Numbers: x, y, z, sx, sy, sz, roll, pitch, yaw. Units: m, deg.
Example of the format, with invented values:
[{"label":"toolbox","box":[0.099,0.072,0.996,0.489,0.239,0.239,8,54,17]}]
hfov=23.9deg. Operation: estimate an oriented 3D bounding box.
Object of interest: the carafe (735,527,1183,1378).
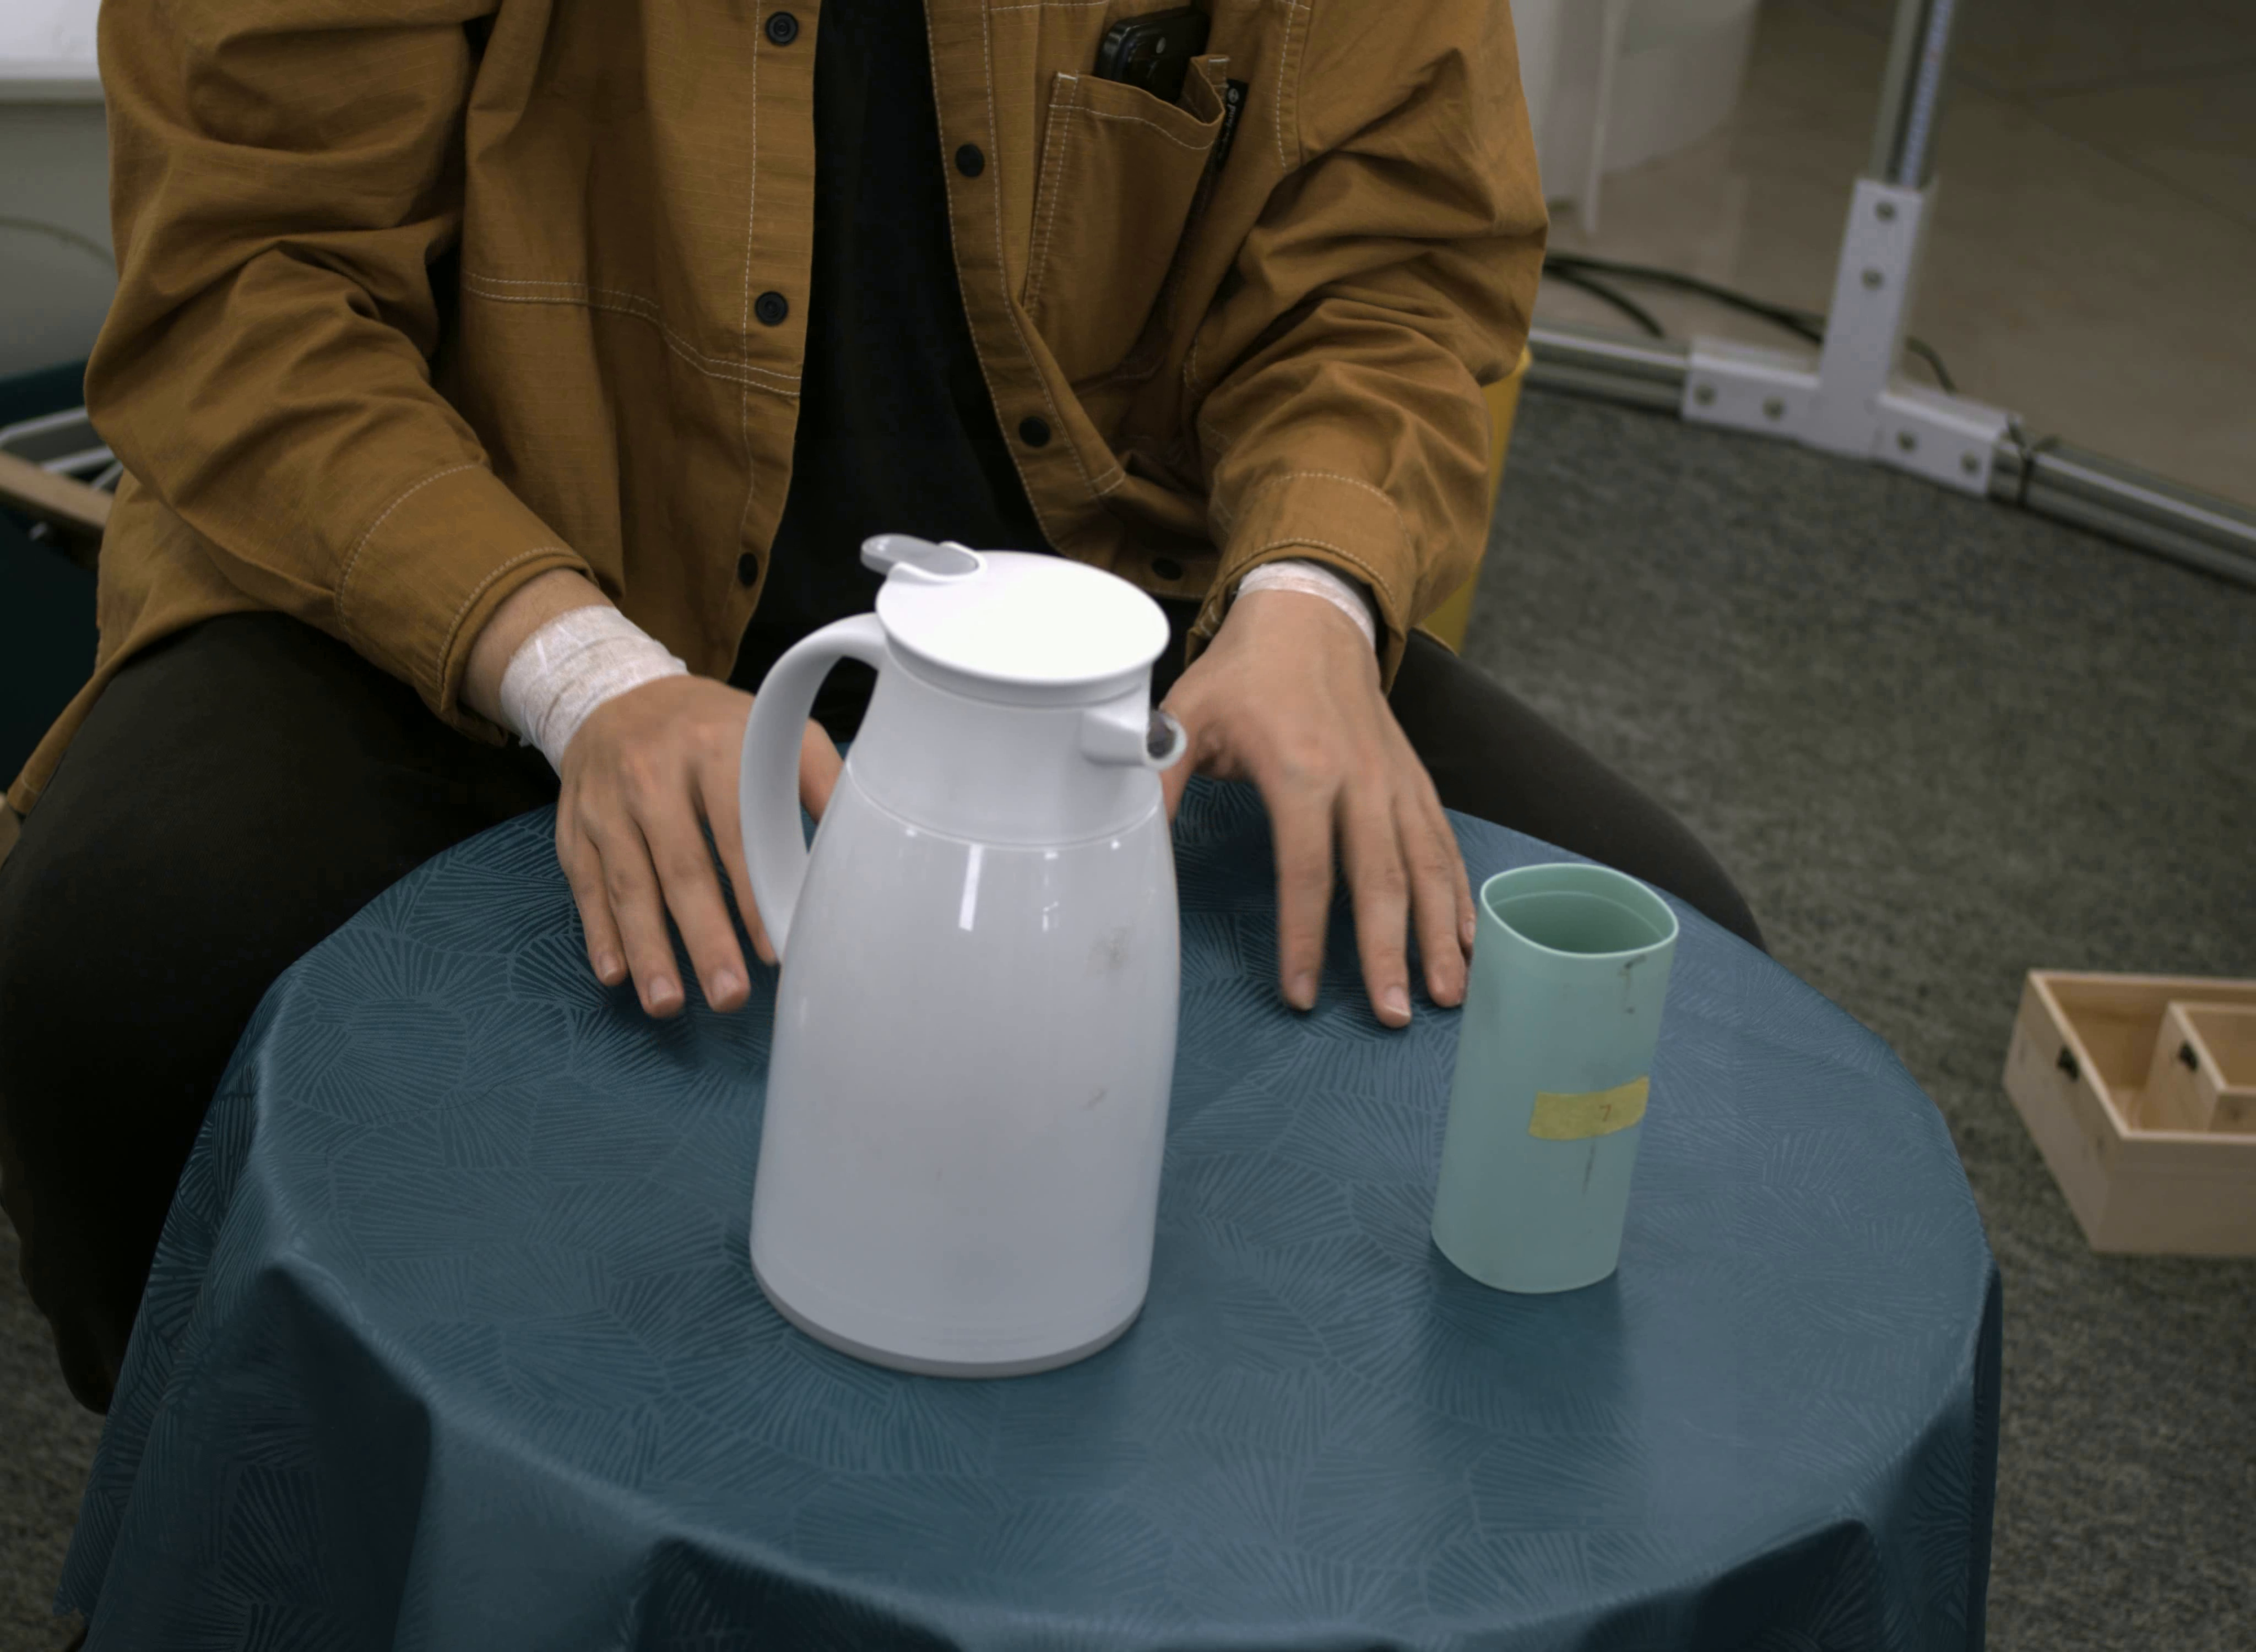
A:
[{"label":"carafe","box":[-0.062,0.030,1.703,0.169,0.248,0.132,25,32,33]}]

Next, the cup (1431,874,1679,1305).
[{"label":"cup","box":[0.140,0.087,1.772,0.066,0.132,0.067,6,27,-3]}]
